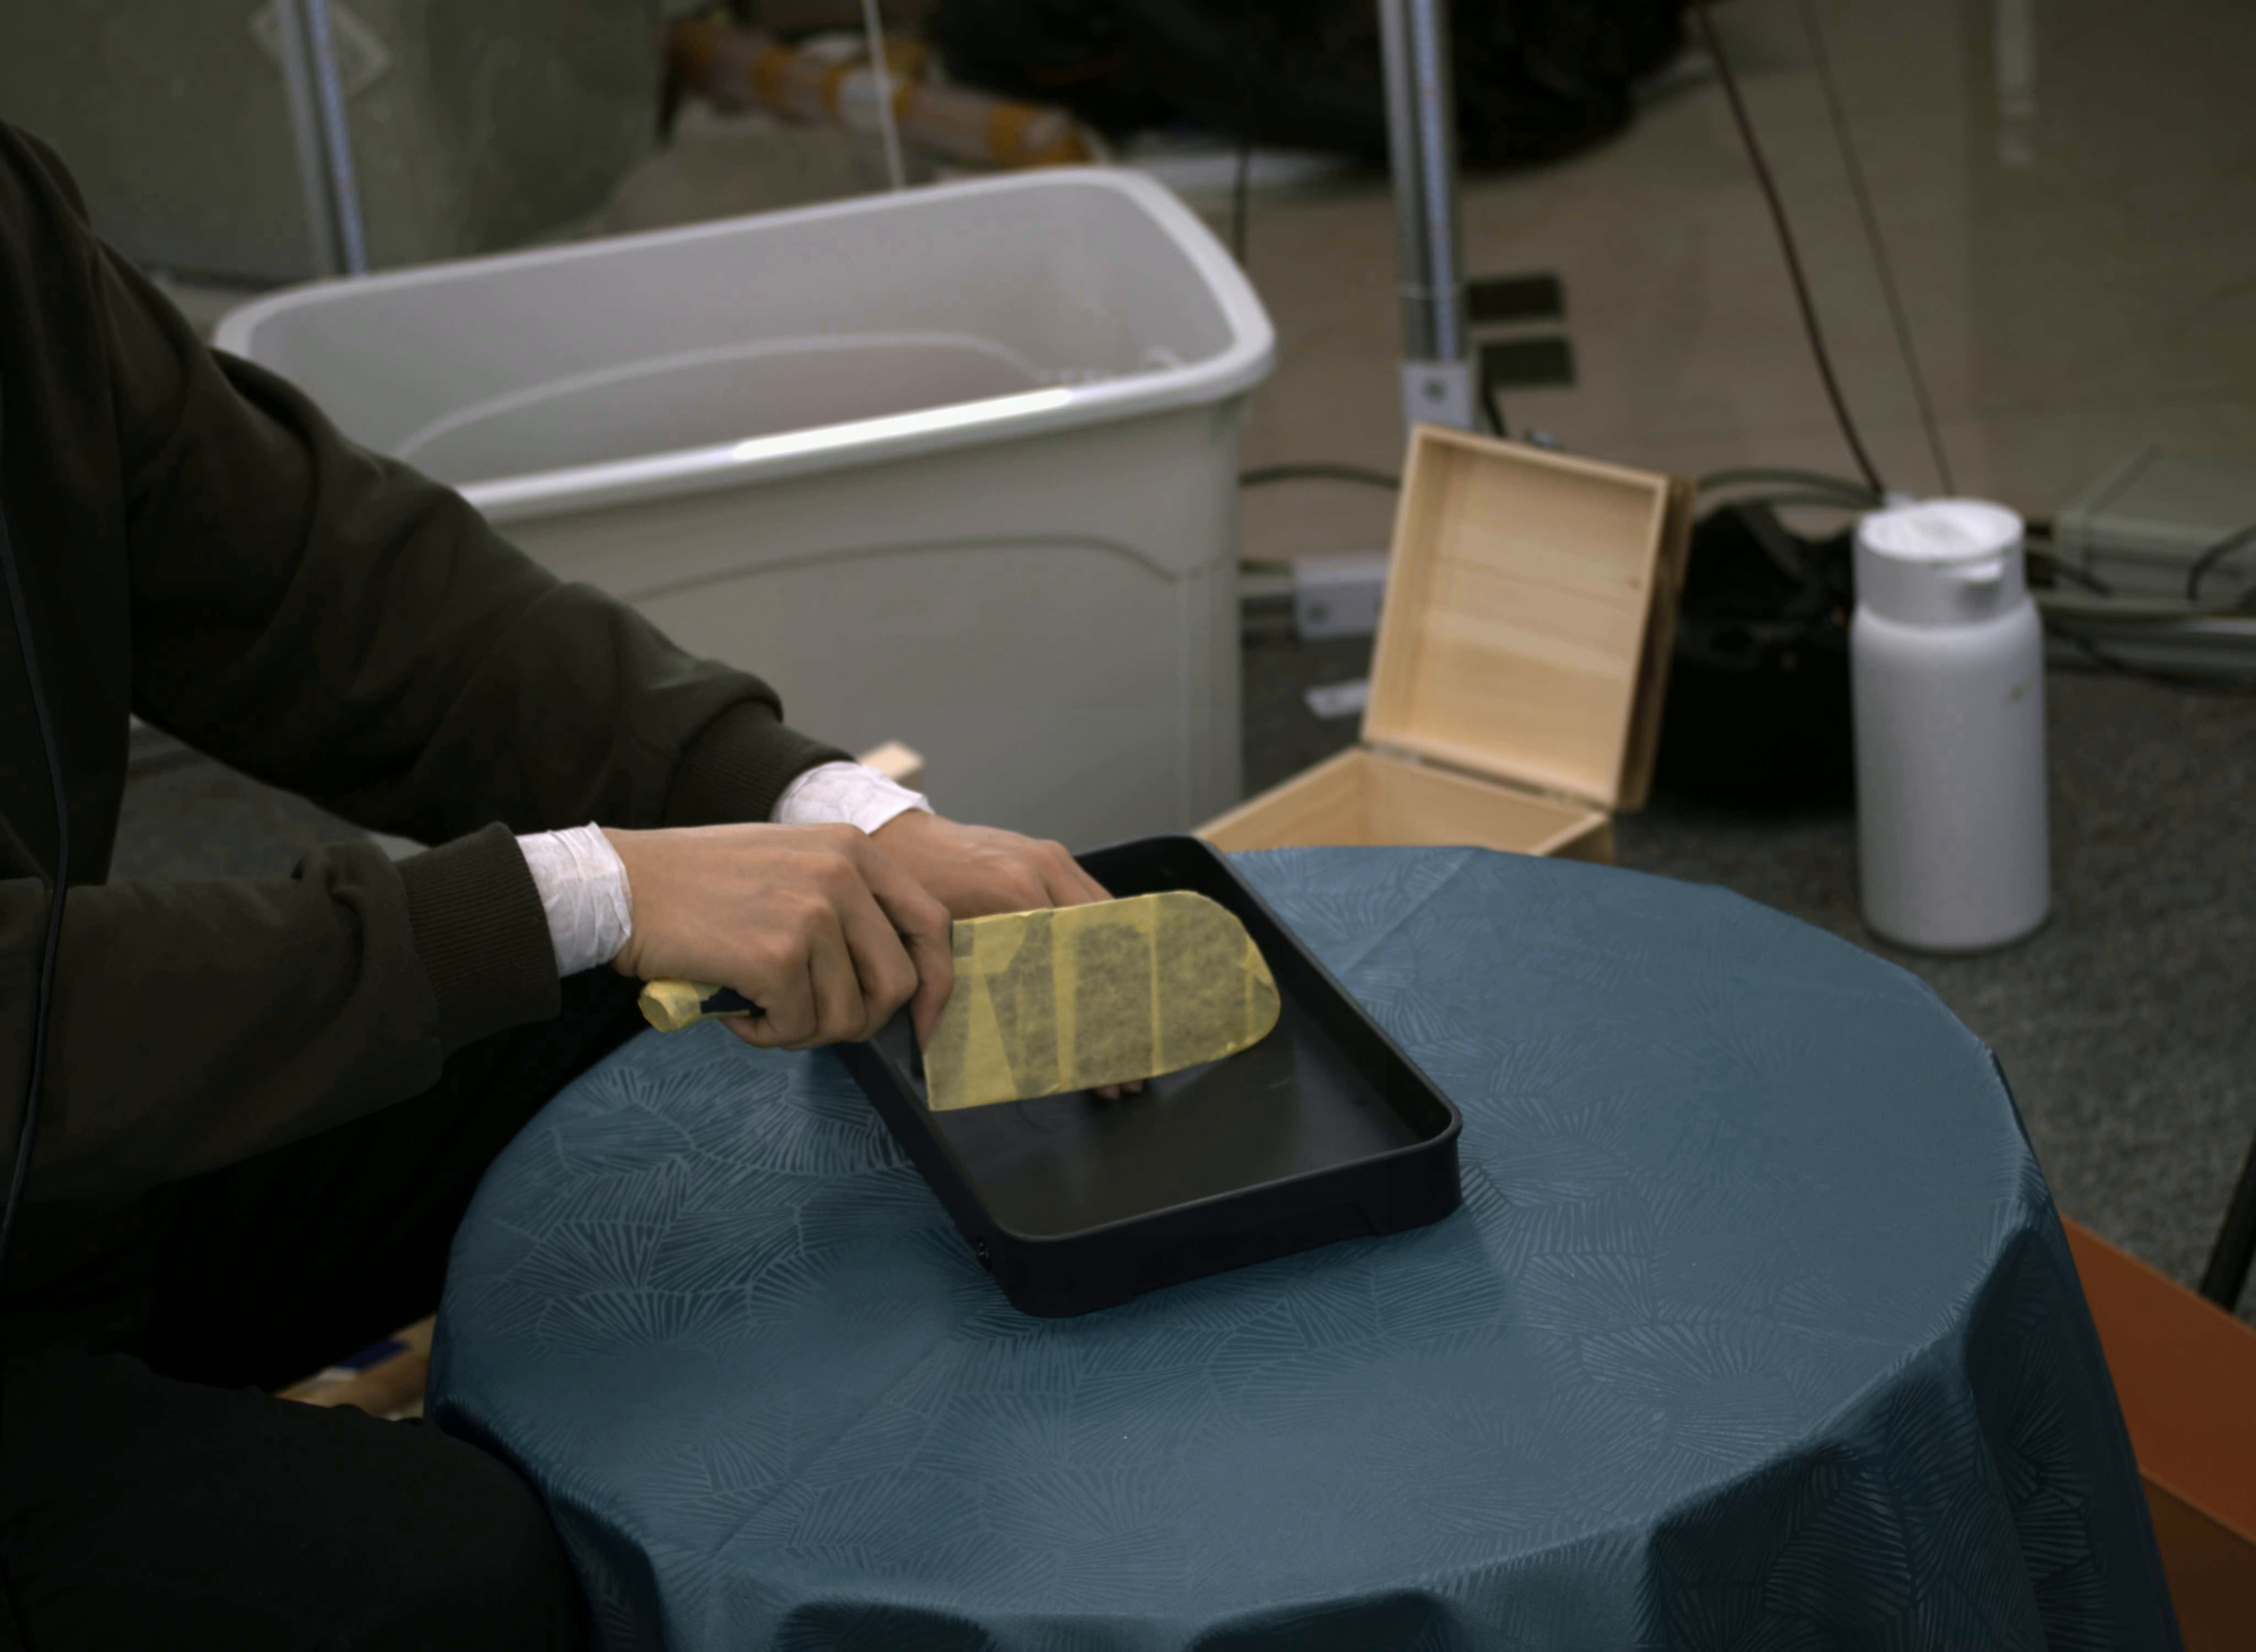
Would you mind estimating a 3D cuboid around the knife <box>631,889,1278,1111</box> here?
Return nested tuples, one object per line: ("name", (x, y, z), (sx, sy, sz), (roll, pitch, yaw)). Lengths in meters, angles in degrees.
("knife", (-0.060, 0.069, 2.163), (0.289, 0.081, 0.027), (-3, 6, -33))

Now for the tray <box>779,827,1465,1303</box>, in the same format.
("tray", (-0.007, 0.088, 2.217), (0.183, 0.037, 0.314), (-14, 25, -16))
